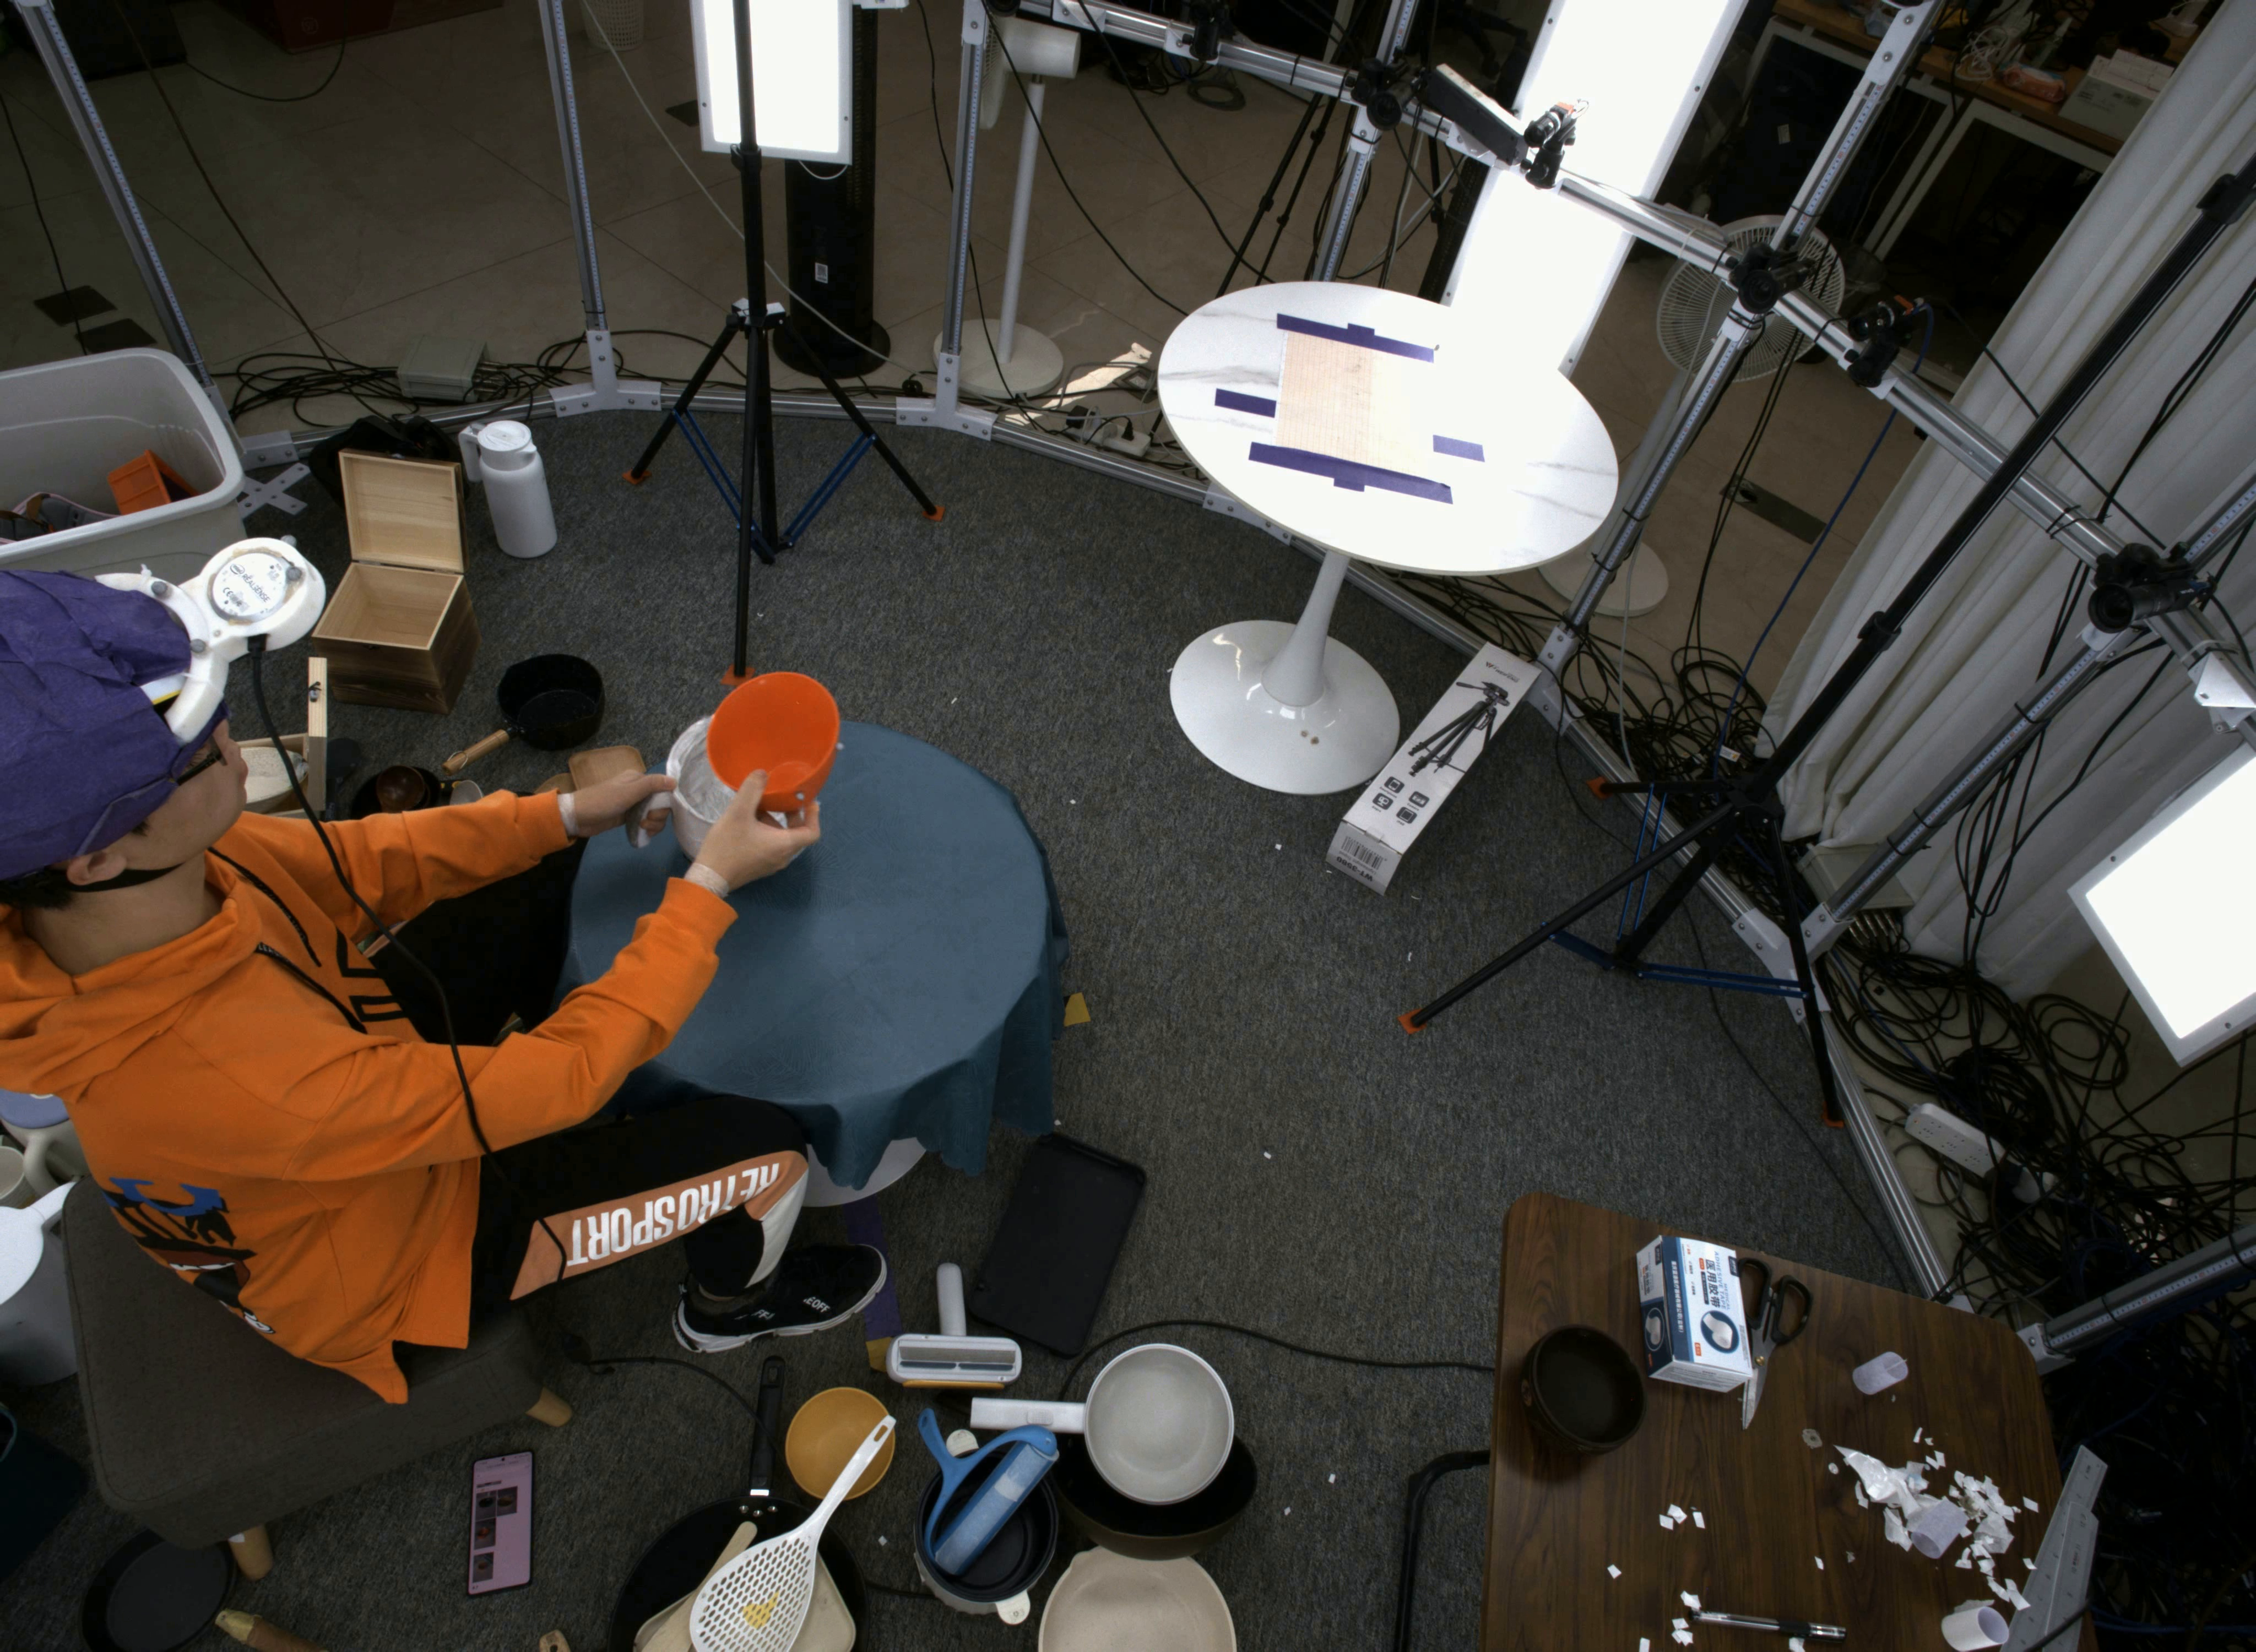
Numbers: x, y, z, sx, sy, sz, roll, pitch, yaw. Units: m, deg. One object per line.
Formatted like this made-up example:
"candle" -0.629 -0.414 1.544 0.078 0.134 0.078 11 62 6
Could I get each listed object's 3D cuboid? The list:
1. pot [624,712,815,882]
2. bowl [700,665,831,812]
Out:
"pot" -0.498 -0.029 1.571 0.235 0.139 0.175 -12 60 -23
"bowl" -0.382 -0.083 1.407 0.146 0.108 0.146 -2 57 5
